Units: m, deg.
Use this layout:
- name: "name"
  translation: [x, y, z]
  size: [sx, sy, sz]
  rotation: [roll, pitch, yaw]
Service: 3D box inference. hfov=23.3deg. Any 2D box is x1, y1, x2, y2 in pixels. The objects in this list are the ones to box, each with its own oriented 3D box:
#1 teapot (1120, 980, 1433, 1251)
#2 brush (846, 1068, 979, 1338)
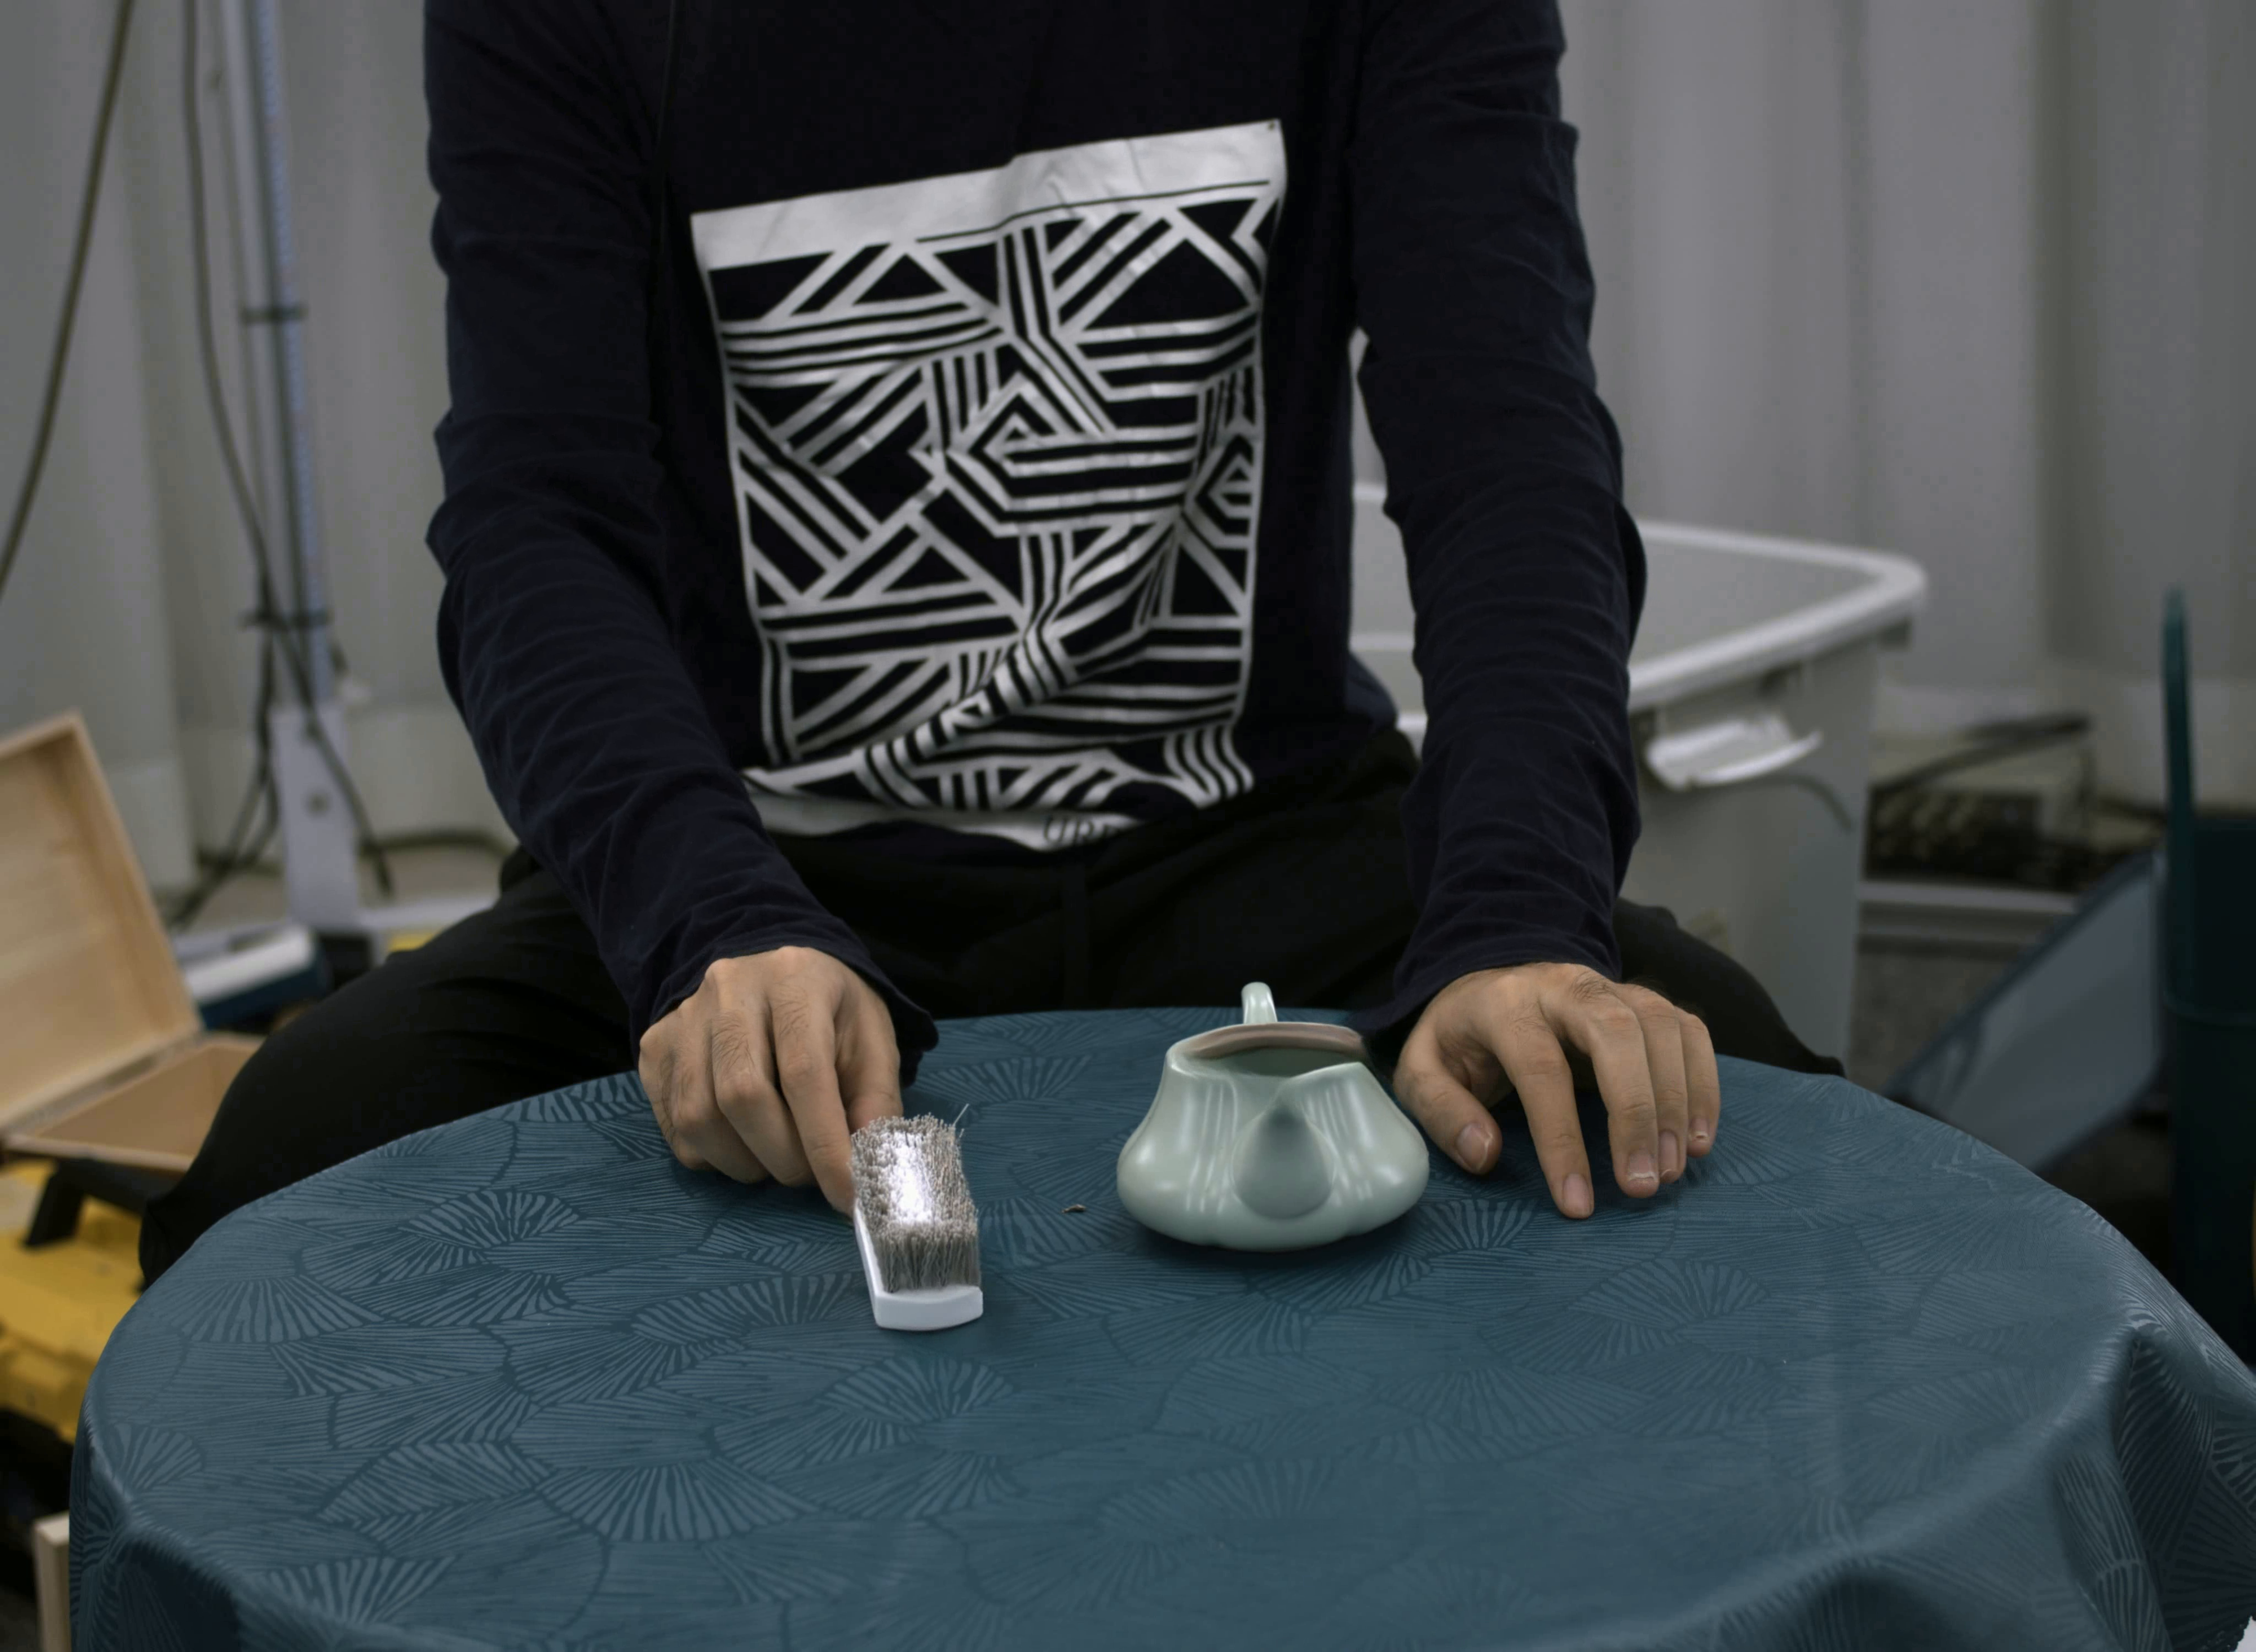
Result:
- name: "teapot"
  translation: [0.044, 0.092, 1.676]
  size: [0.096, 0.061, 0.138]
  rotation: [-7, 16, -3]
- name: "brush"
  translation: [-0.072, 0.097, 1.702]
  size: [0.034, 0.050, 0.245]
  rotation: [-9, 16, -3]
